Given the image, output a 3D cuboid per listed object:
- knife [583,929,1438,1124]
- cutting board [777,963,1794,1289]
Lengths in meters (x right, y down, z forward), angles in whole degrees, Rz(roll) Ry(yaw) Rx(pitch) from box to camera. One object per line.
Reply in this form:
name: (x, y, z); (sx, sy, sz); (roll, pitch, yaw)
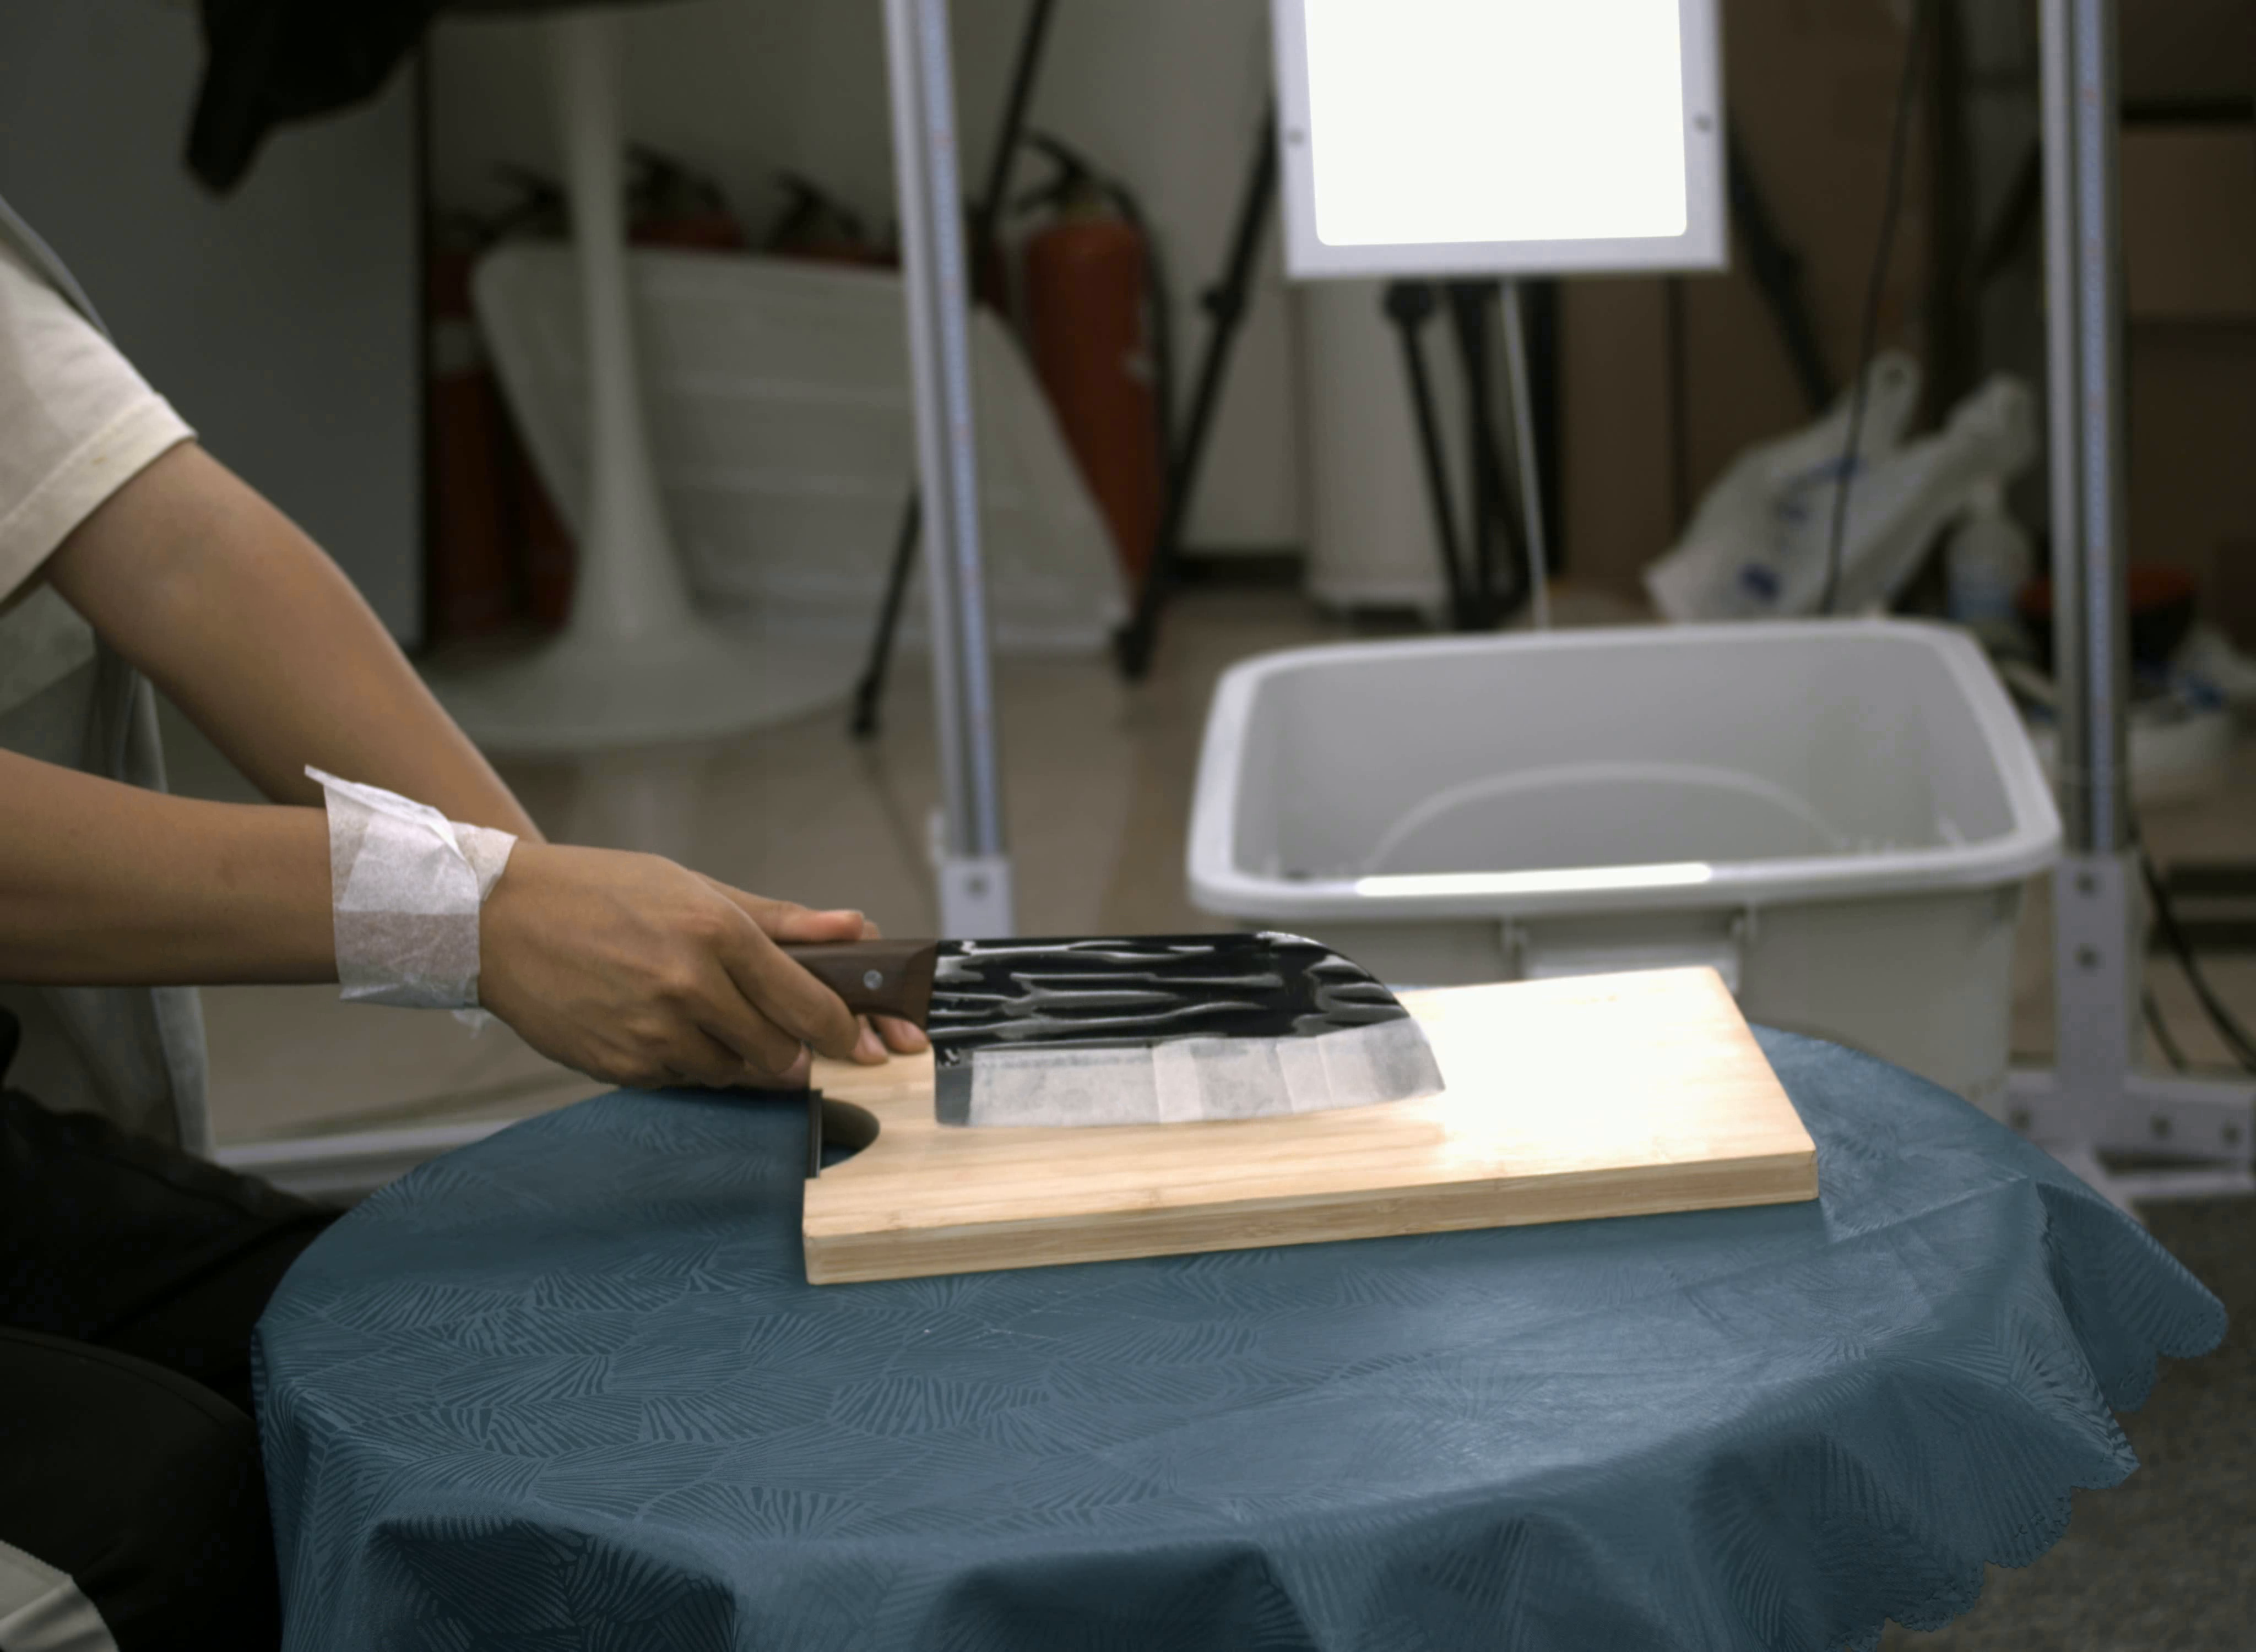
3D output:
knife: (-0.042, 0.070, 1.915); (0.300, 0.068, 0.024); (0, 7, 8)
cutting board: (0.051, 0.104, 1.939); (0.347, 0.023, 0.250); (-5, 13, 0)
